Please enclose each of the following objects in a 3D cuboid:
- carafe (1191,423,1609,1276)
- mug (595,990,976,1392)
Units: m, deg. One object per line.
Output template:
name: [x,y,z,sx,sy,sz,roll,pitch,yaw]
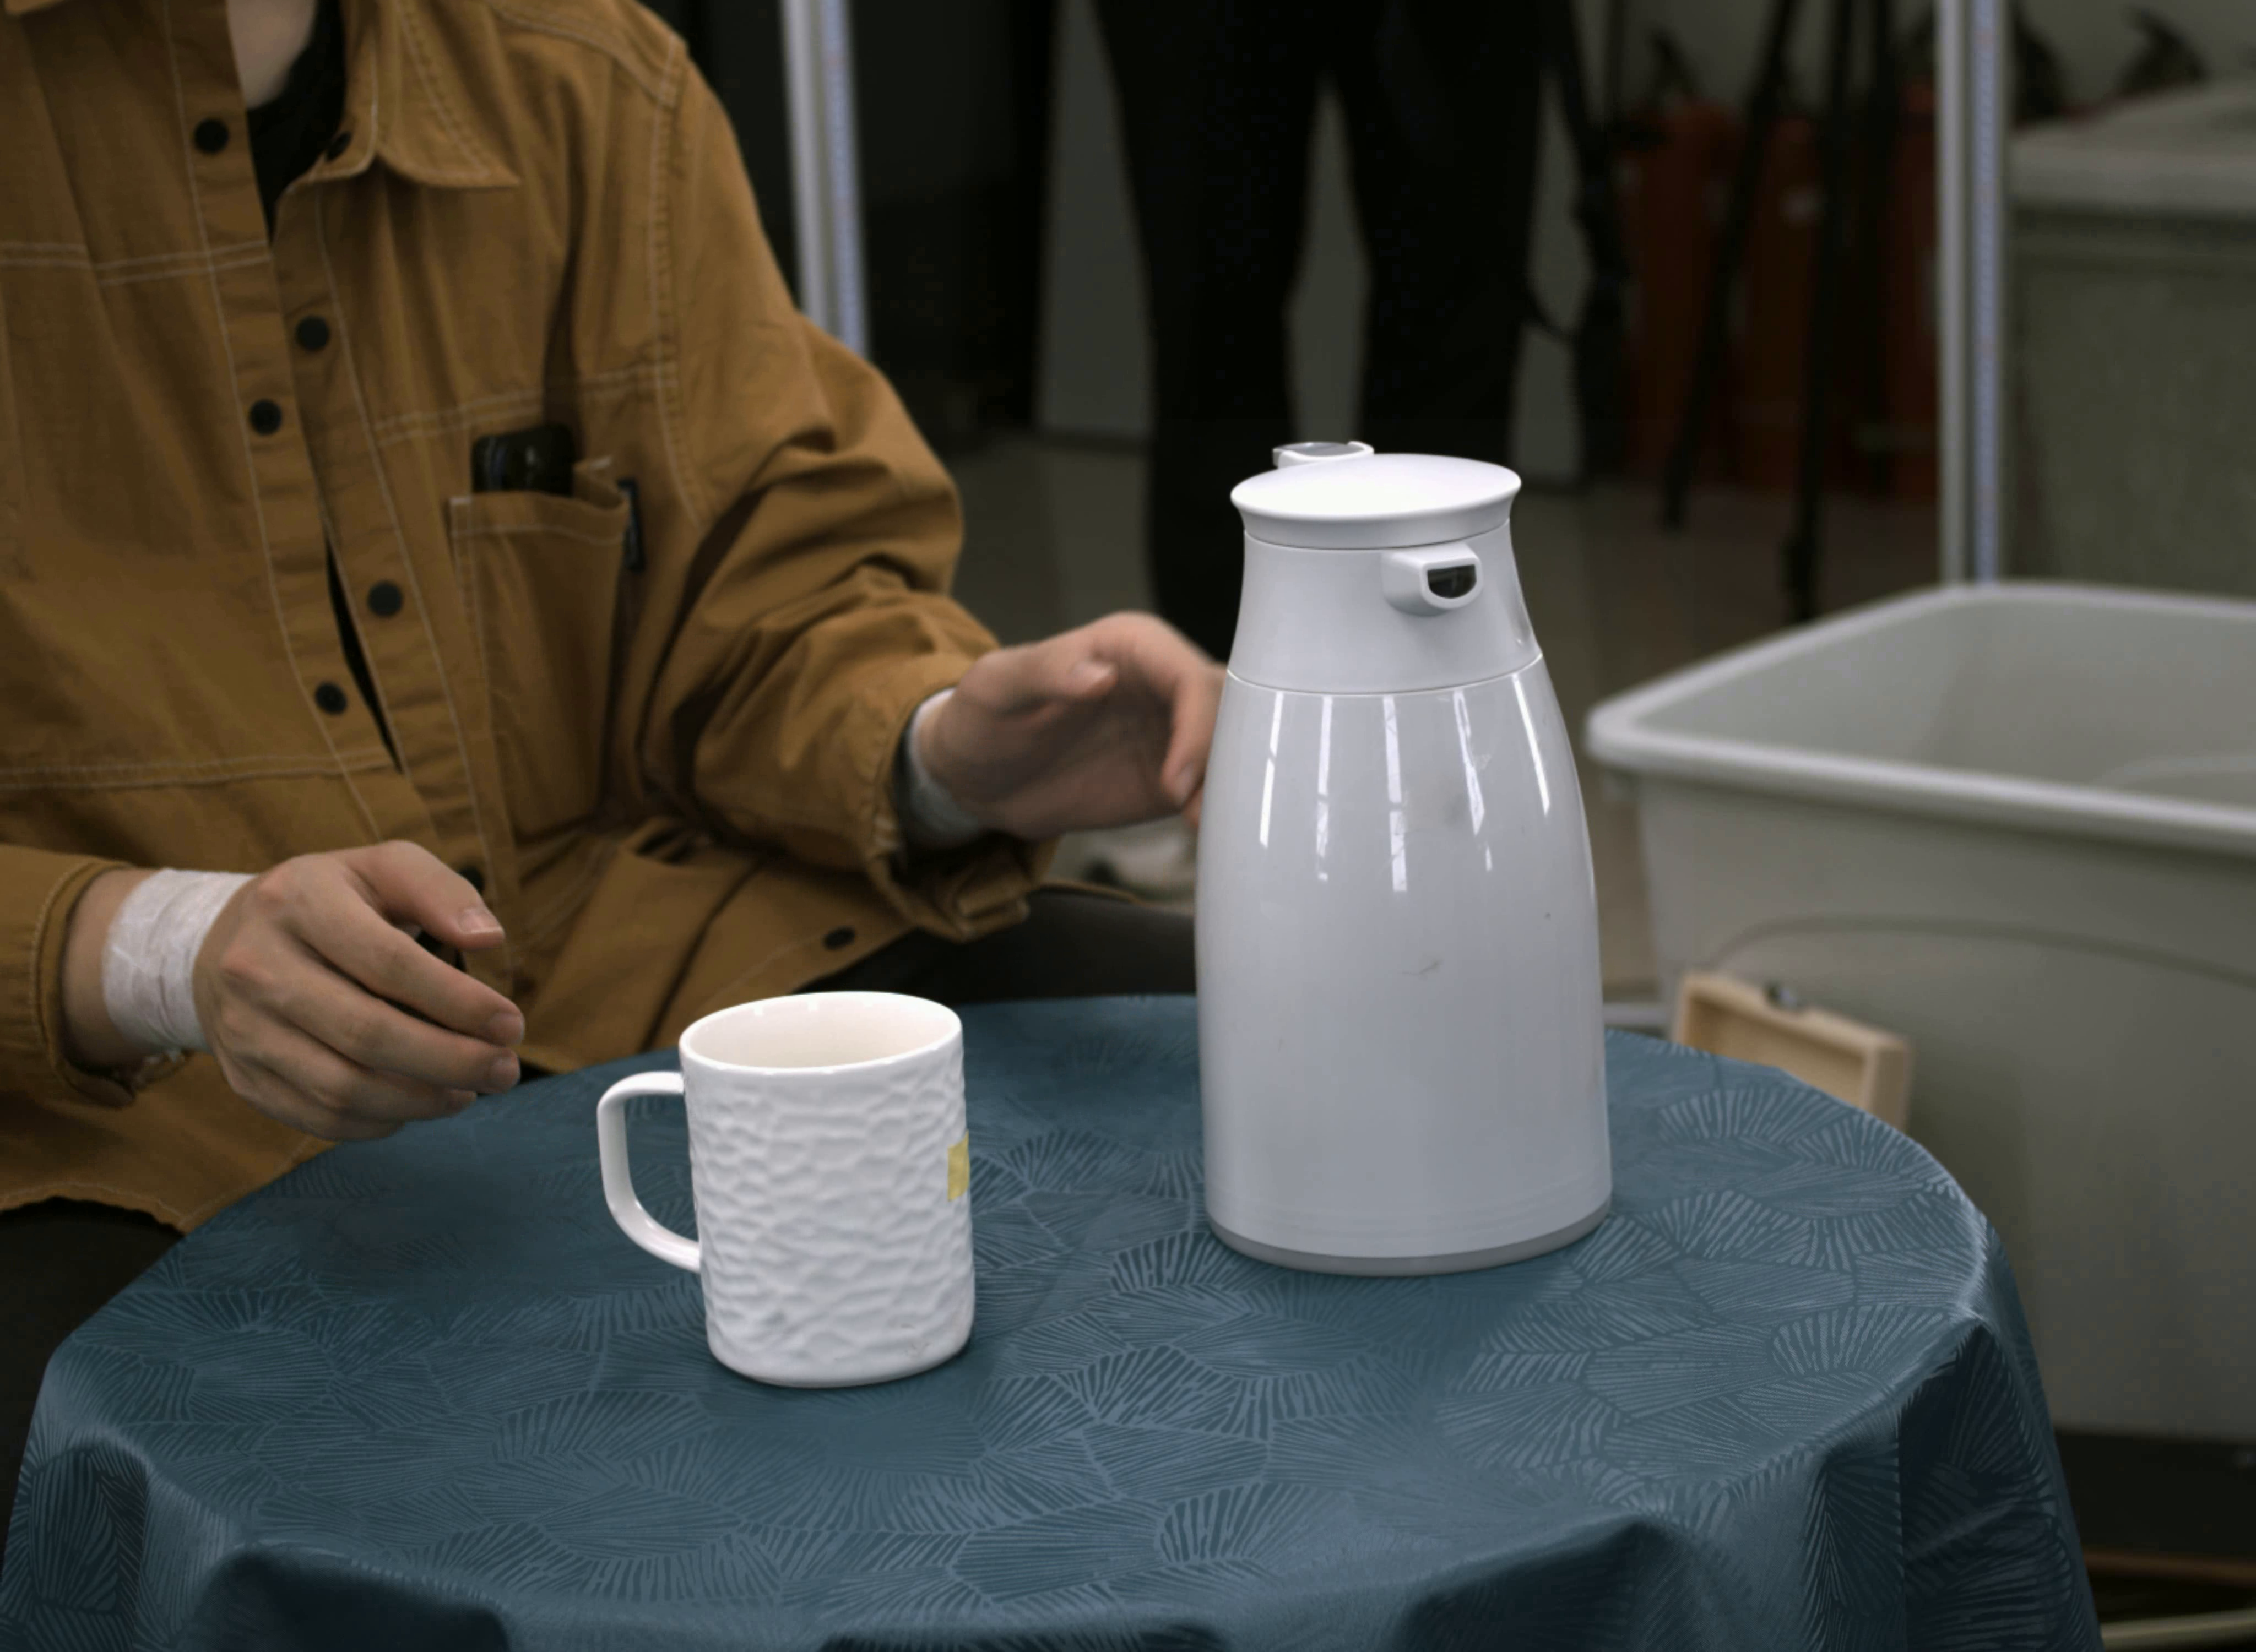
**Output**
carafe: [0.074,-0.001,1.723,0.130,0.251,0.169,-9,14,-18]
mug: [-0.105,0.110,1.639,0.118,0.103,0.084,0,13,19]
